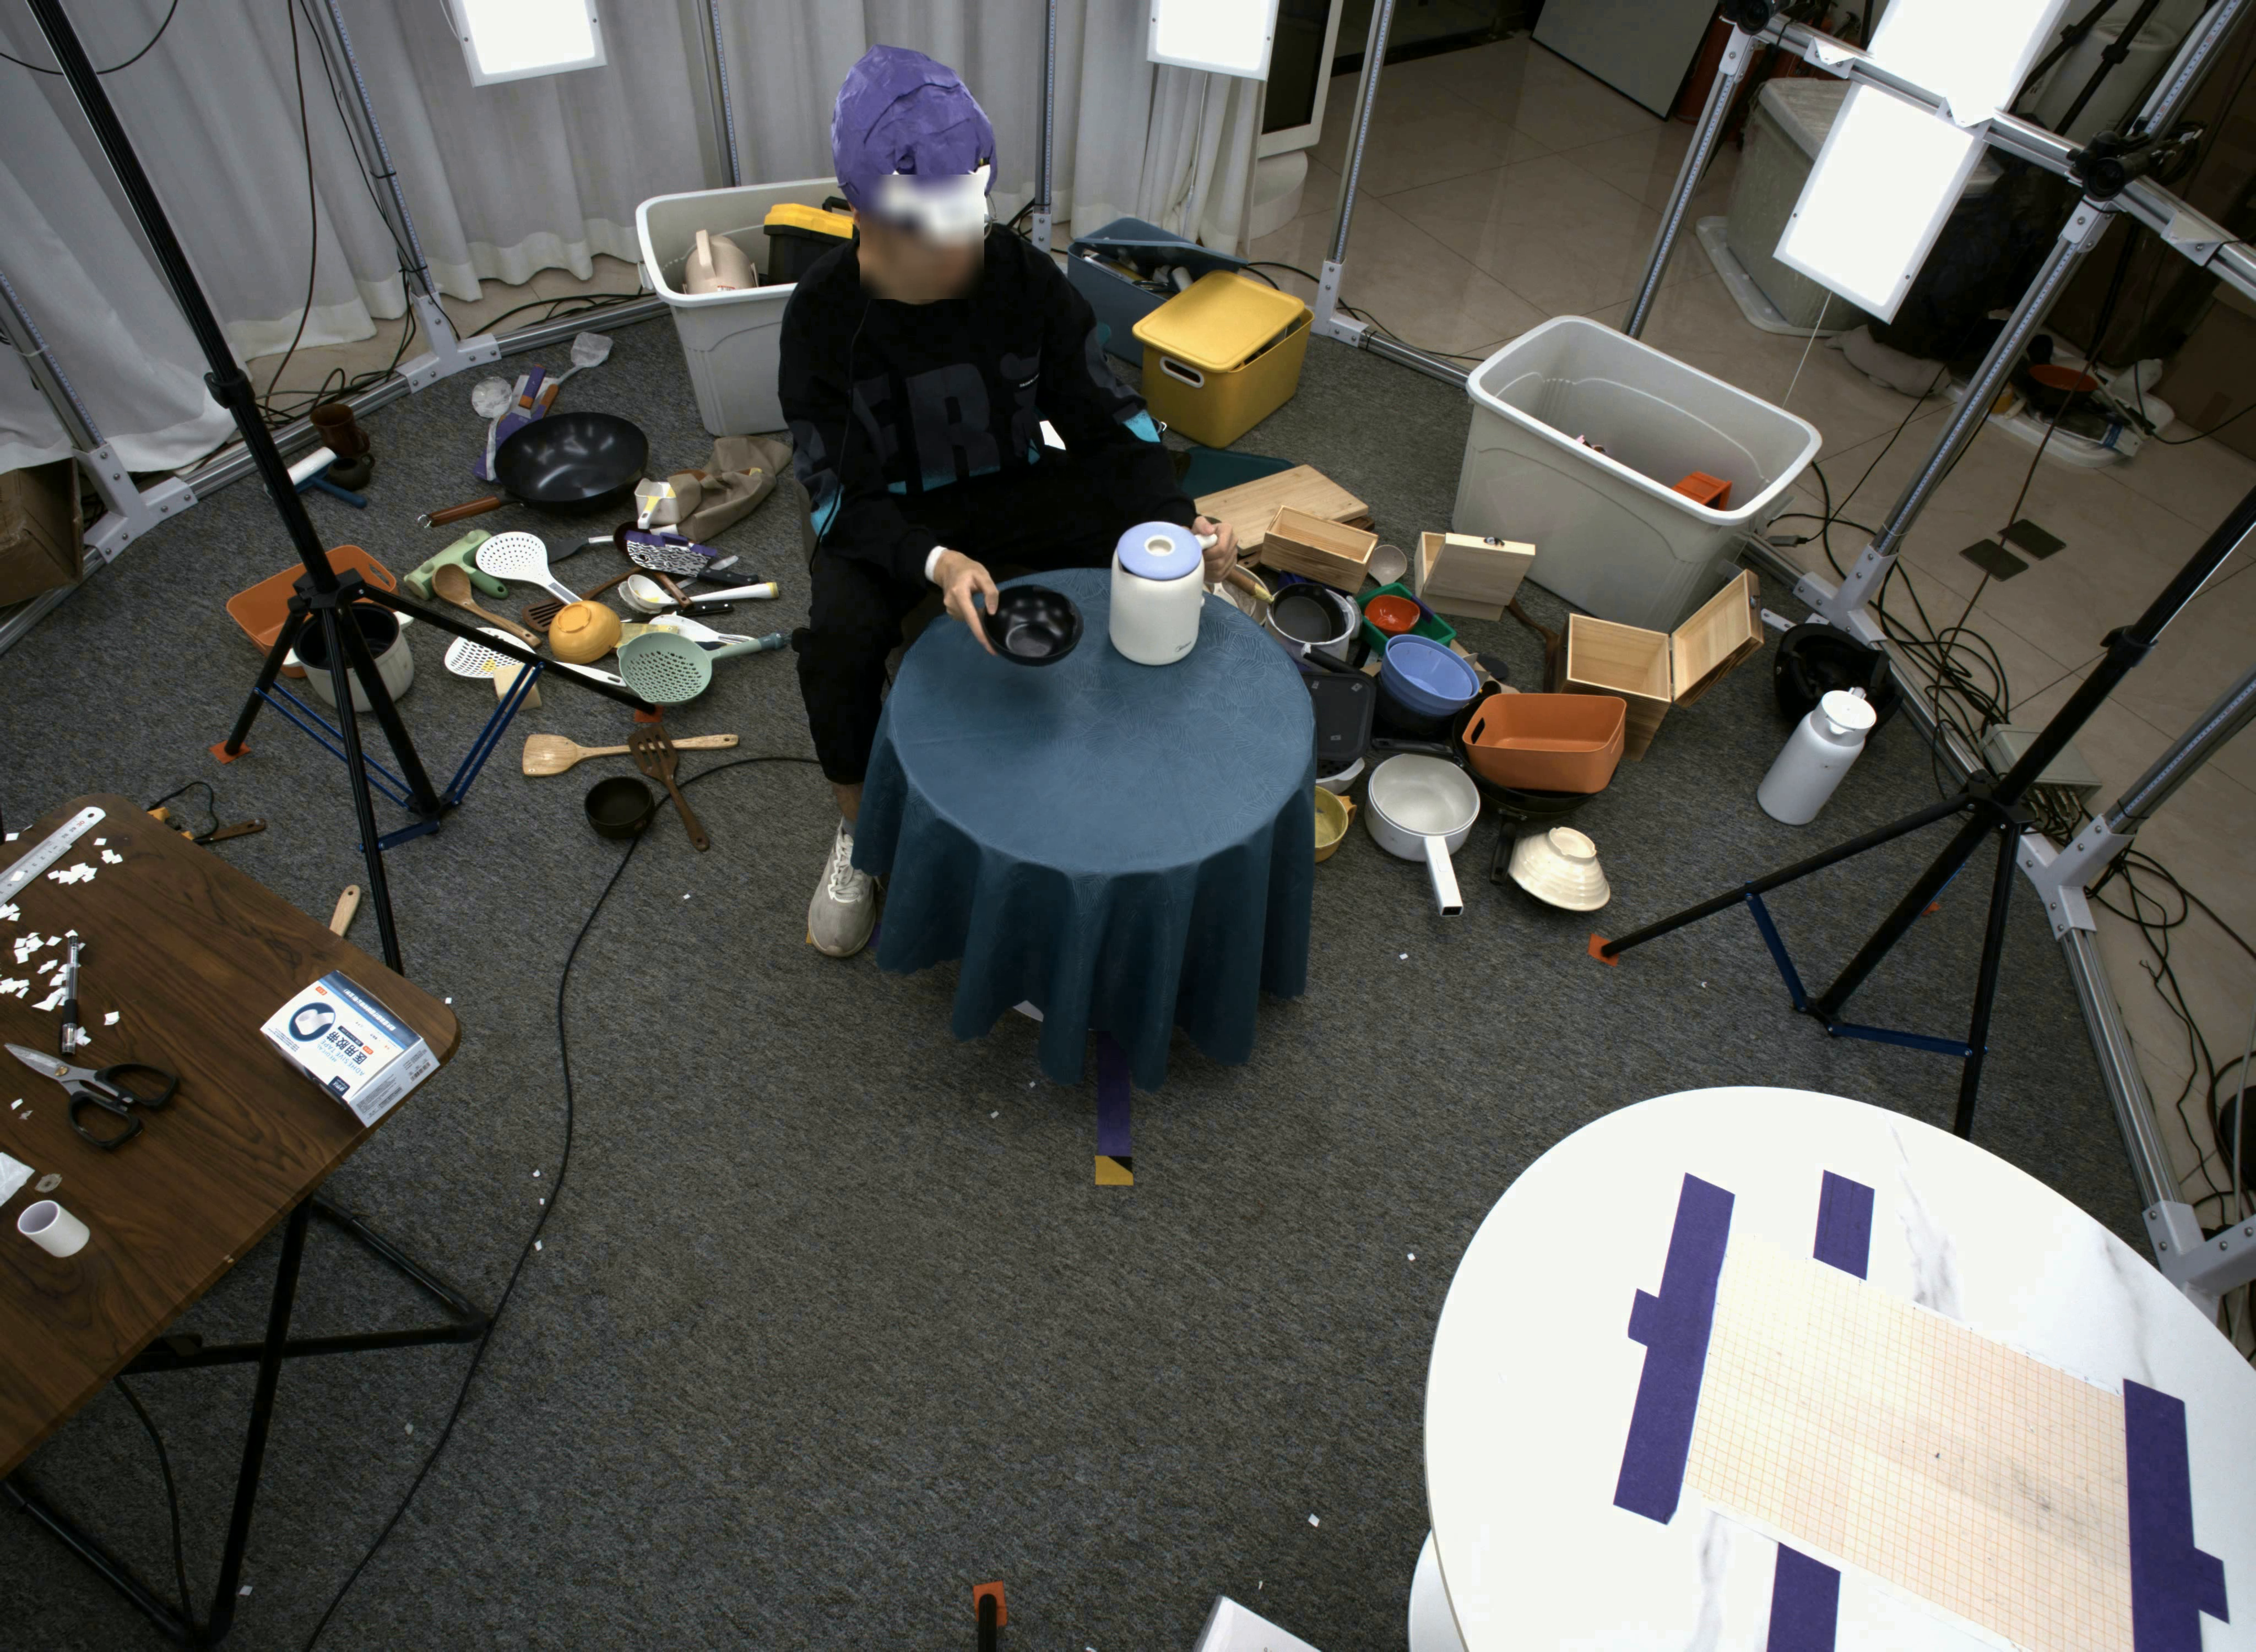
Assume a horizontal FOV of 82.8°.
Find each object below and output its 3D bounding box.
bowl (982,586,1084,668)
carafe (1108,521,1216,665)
[{"bbox_3d":[-0.131,-0.266,1.769,0.140,0.048,0.143,3,51,-4],"label":"bowl"},{"bbox_3d":[0.058,-0.346,1.859,0.192,0.178,0.134,-32,60,-28],"label":"carafe"}]
